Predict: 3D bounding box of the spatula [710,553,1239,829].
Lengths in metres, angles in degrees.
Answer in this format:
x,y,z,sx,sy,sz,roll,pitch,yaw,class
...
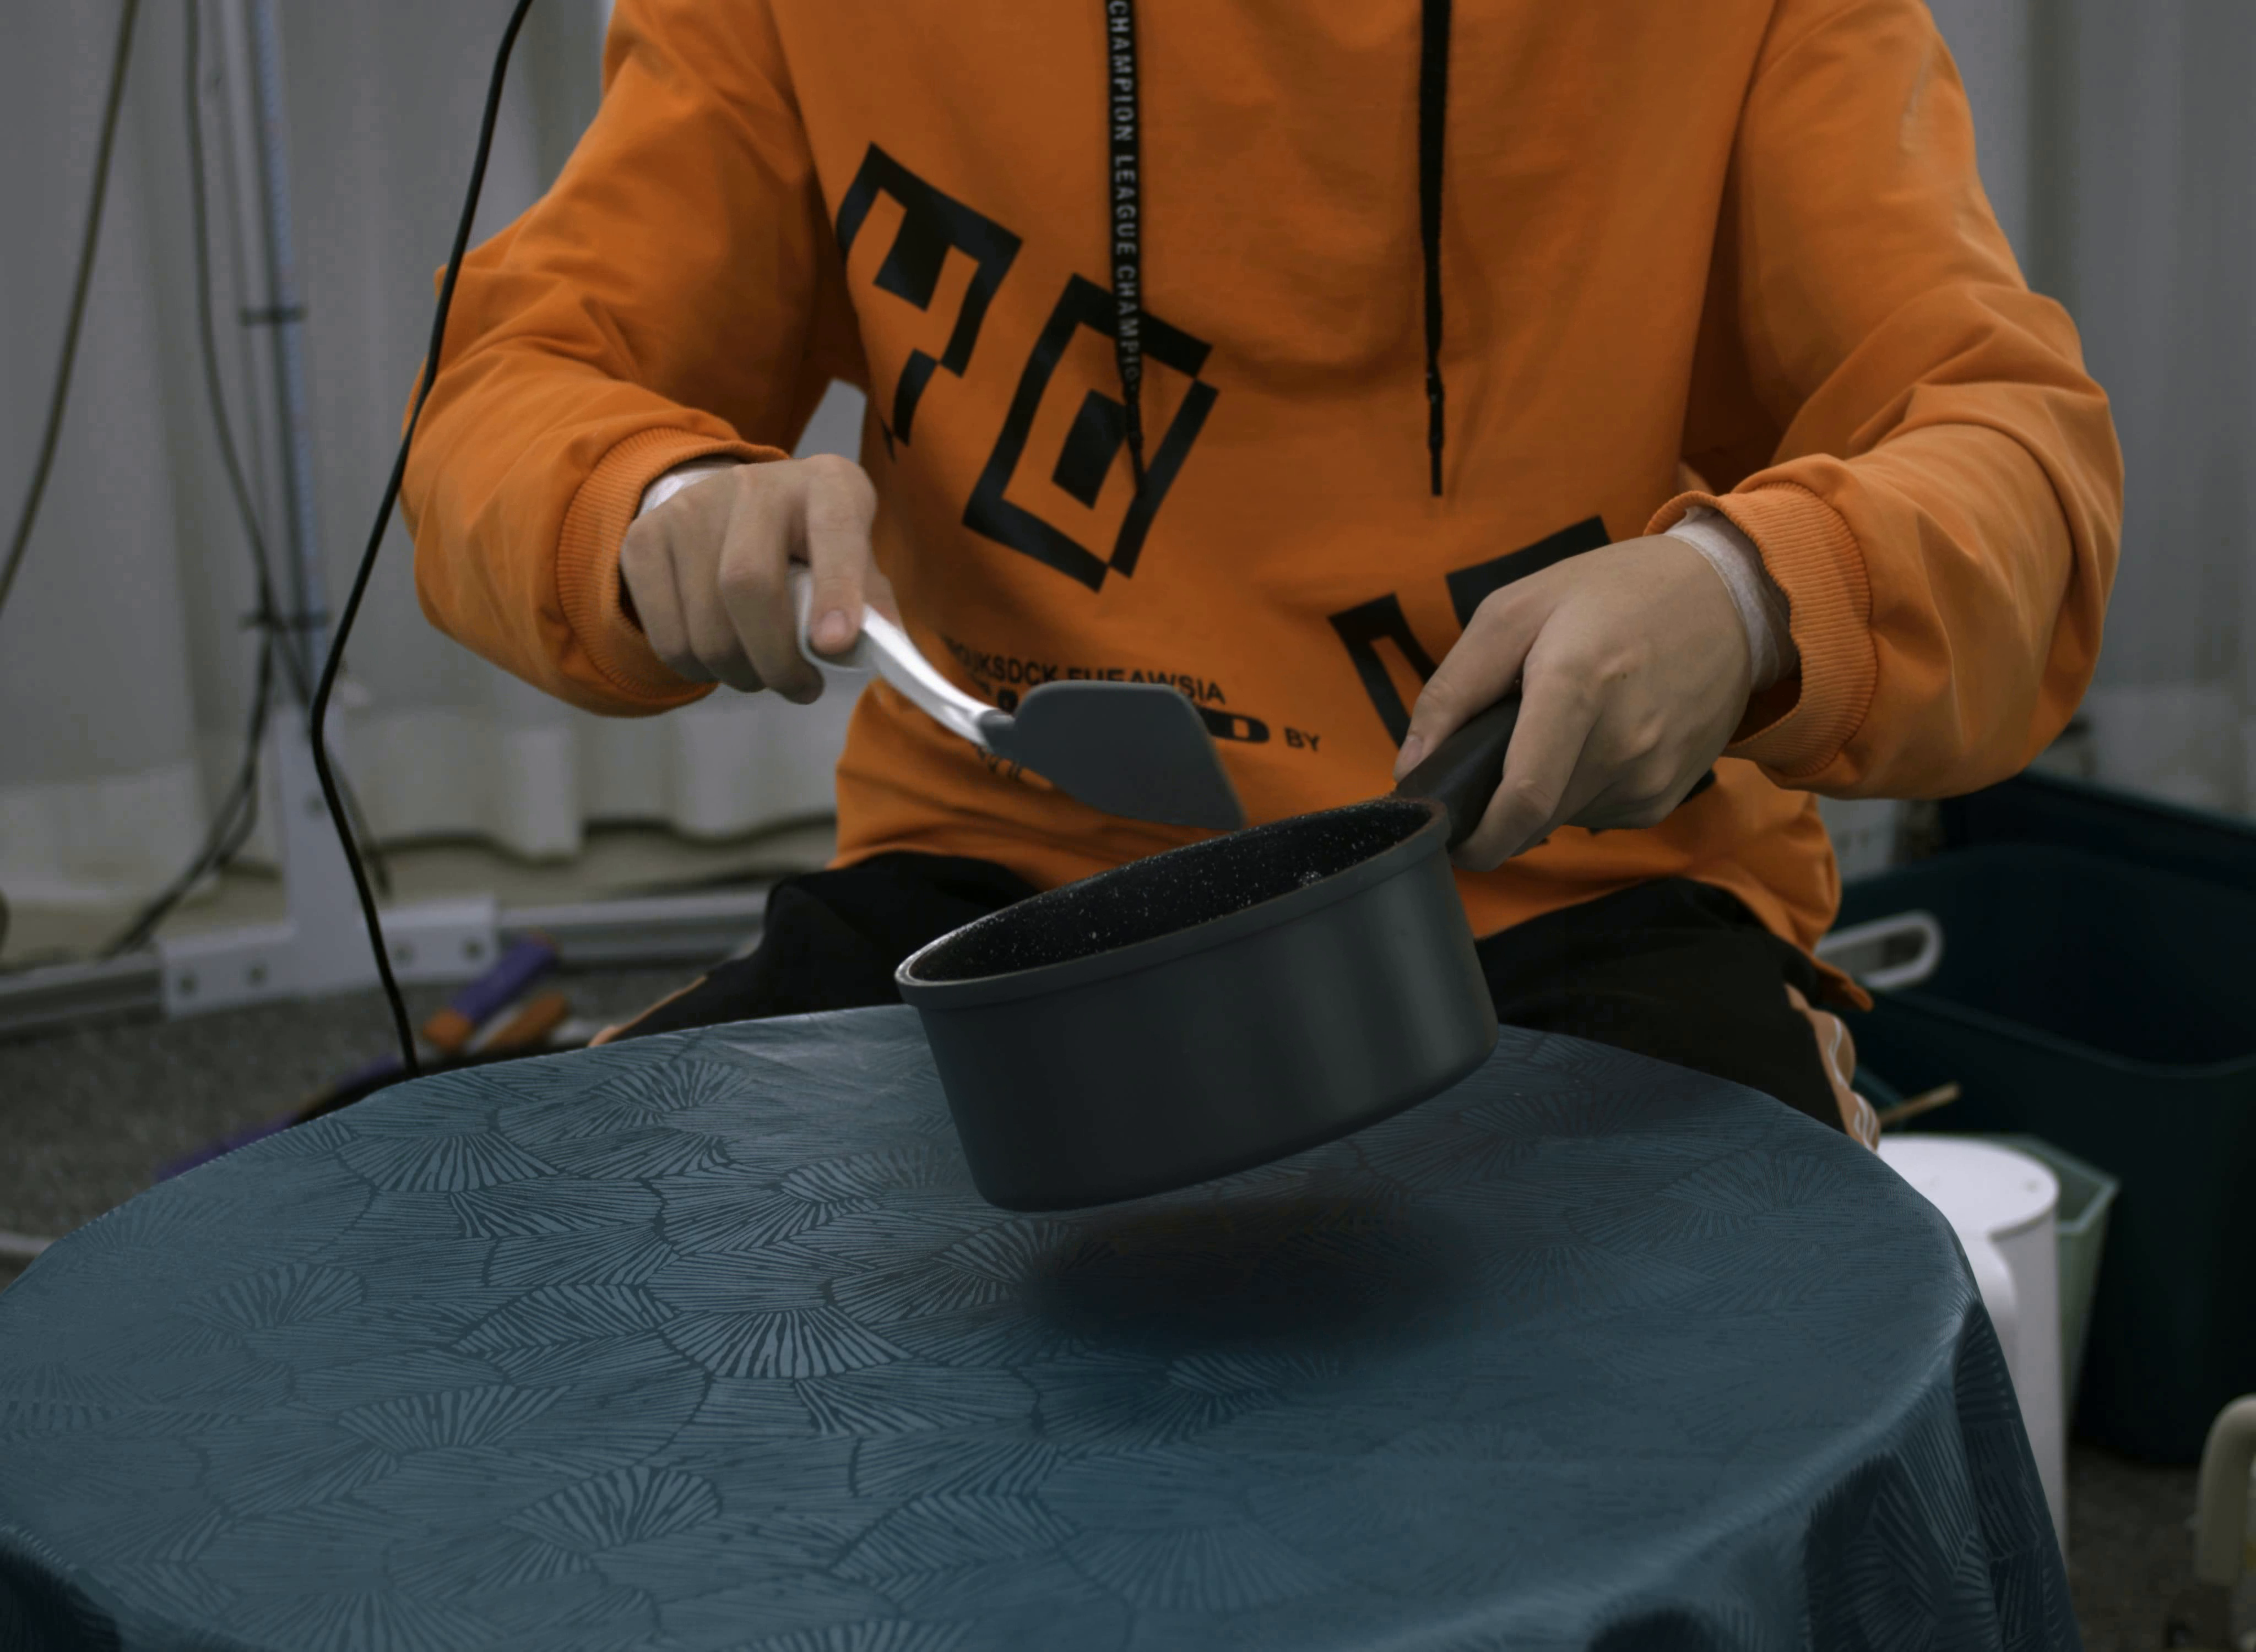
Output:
x,y,z,sx,sy,sz,roll,pitch,yaw,class
-0.054,-0.044,1.699,0.032,0.058,0.290,-32,26,-20,spatula

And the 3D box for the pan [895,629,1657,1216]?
x,y,z,sx,sy,sz,roll,pitch,yaw,class
0.070,0.027,1.679,0.172,0.086,0.329,-10,12,41,pan
